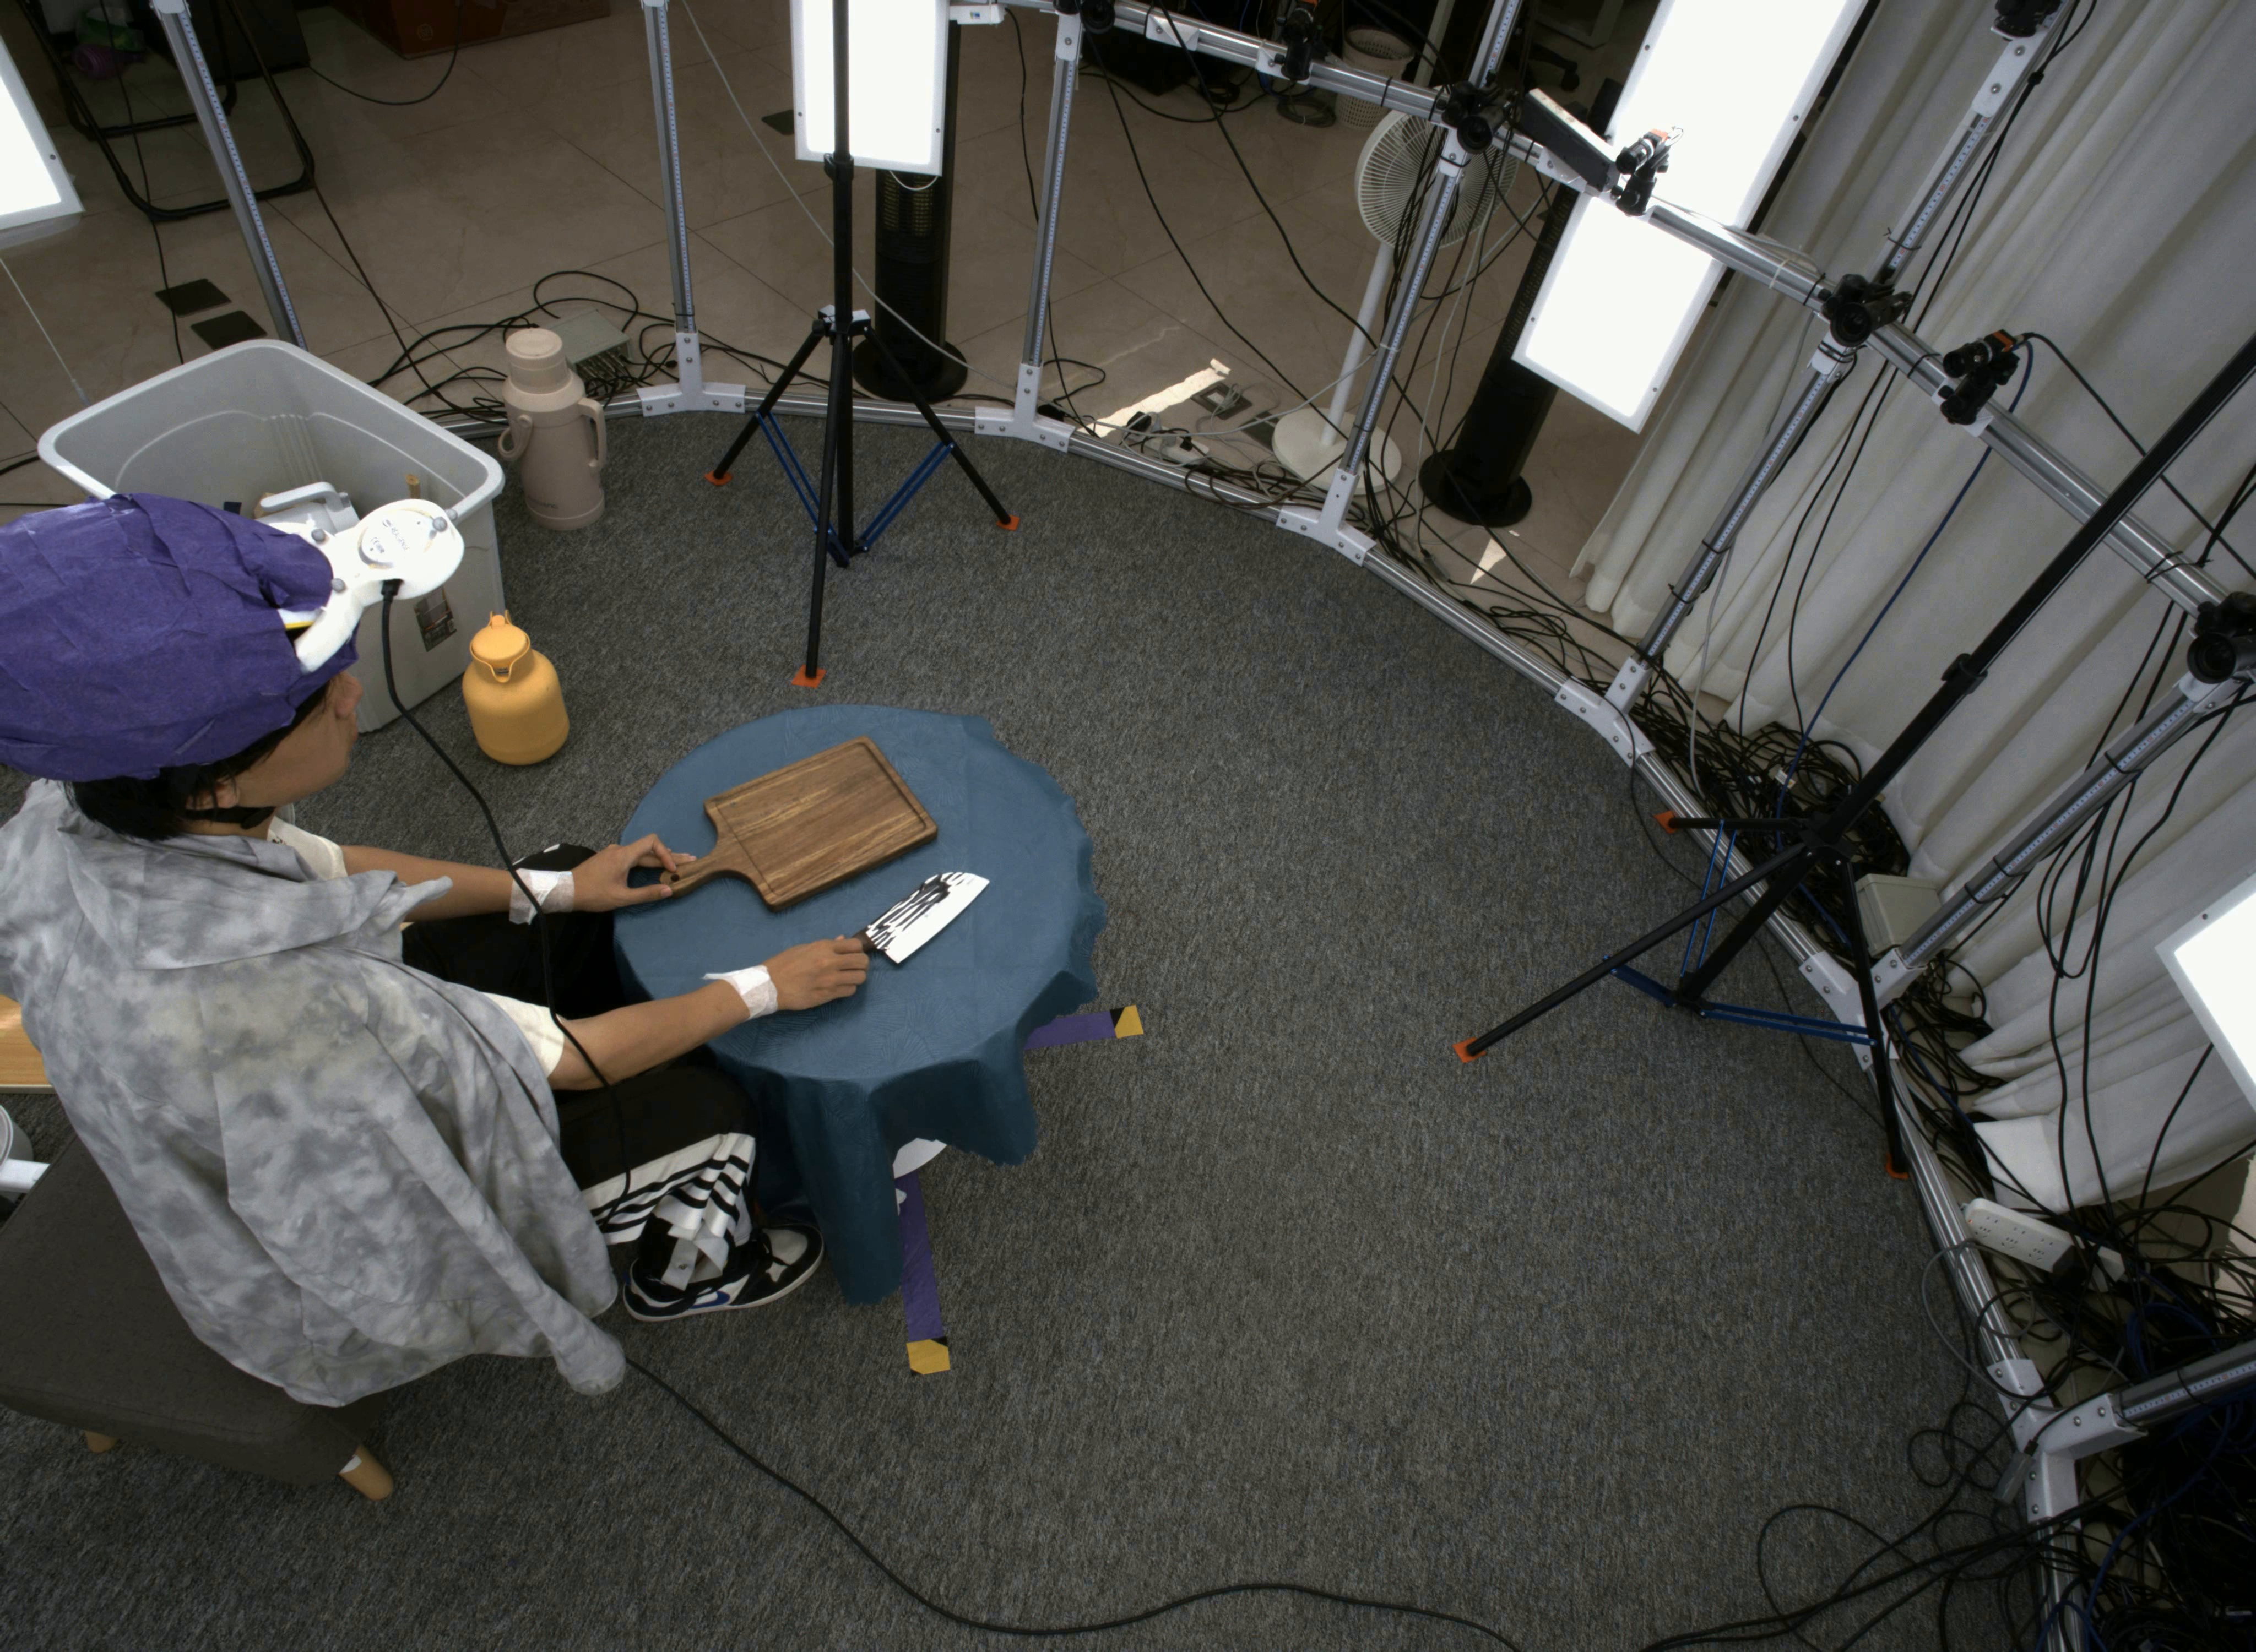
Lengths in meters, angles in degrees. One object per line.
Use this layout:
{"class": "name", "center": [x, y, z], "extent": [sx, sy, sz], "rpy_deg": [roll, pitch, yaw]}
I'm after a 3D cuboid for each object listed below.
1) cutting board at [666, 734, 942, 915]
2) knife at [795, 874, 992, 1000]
{"class": "cutting board", "center": [-0.441, 0.010, 1.701], "extent": [0.353, 0.023, 0.196], "rpy_deg": [-27, 64, -29]}
{"class": "knife", "center": [-0.290, 0.137, 1.644], "extent": [0.066, 0.024, 0.300], "rpy_deg": [39, 52, 16]}
